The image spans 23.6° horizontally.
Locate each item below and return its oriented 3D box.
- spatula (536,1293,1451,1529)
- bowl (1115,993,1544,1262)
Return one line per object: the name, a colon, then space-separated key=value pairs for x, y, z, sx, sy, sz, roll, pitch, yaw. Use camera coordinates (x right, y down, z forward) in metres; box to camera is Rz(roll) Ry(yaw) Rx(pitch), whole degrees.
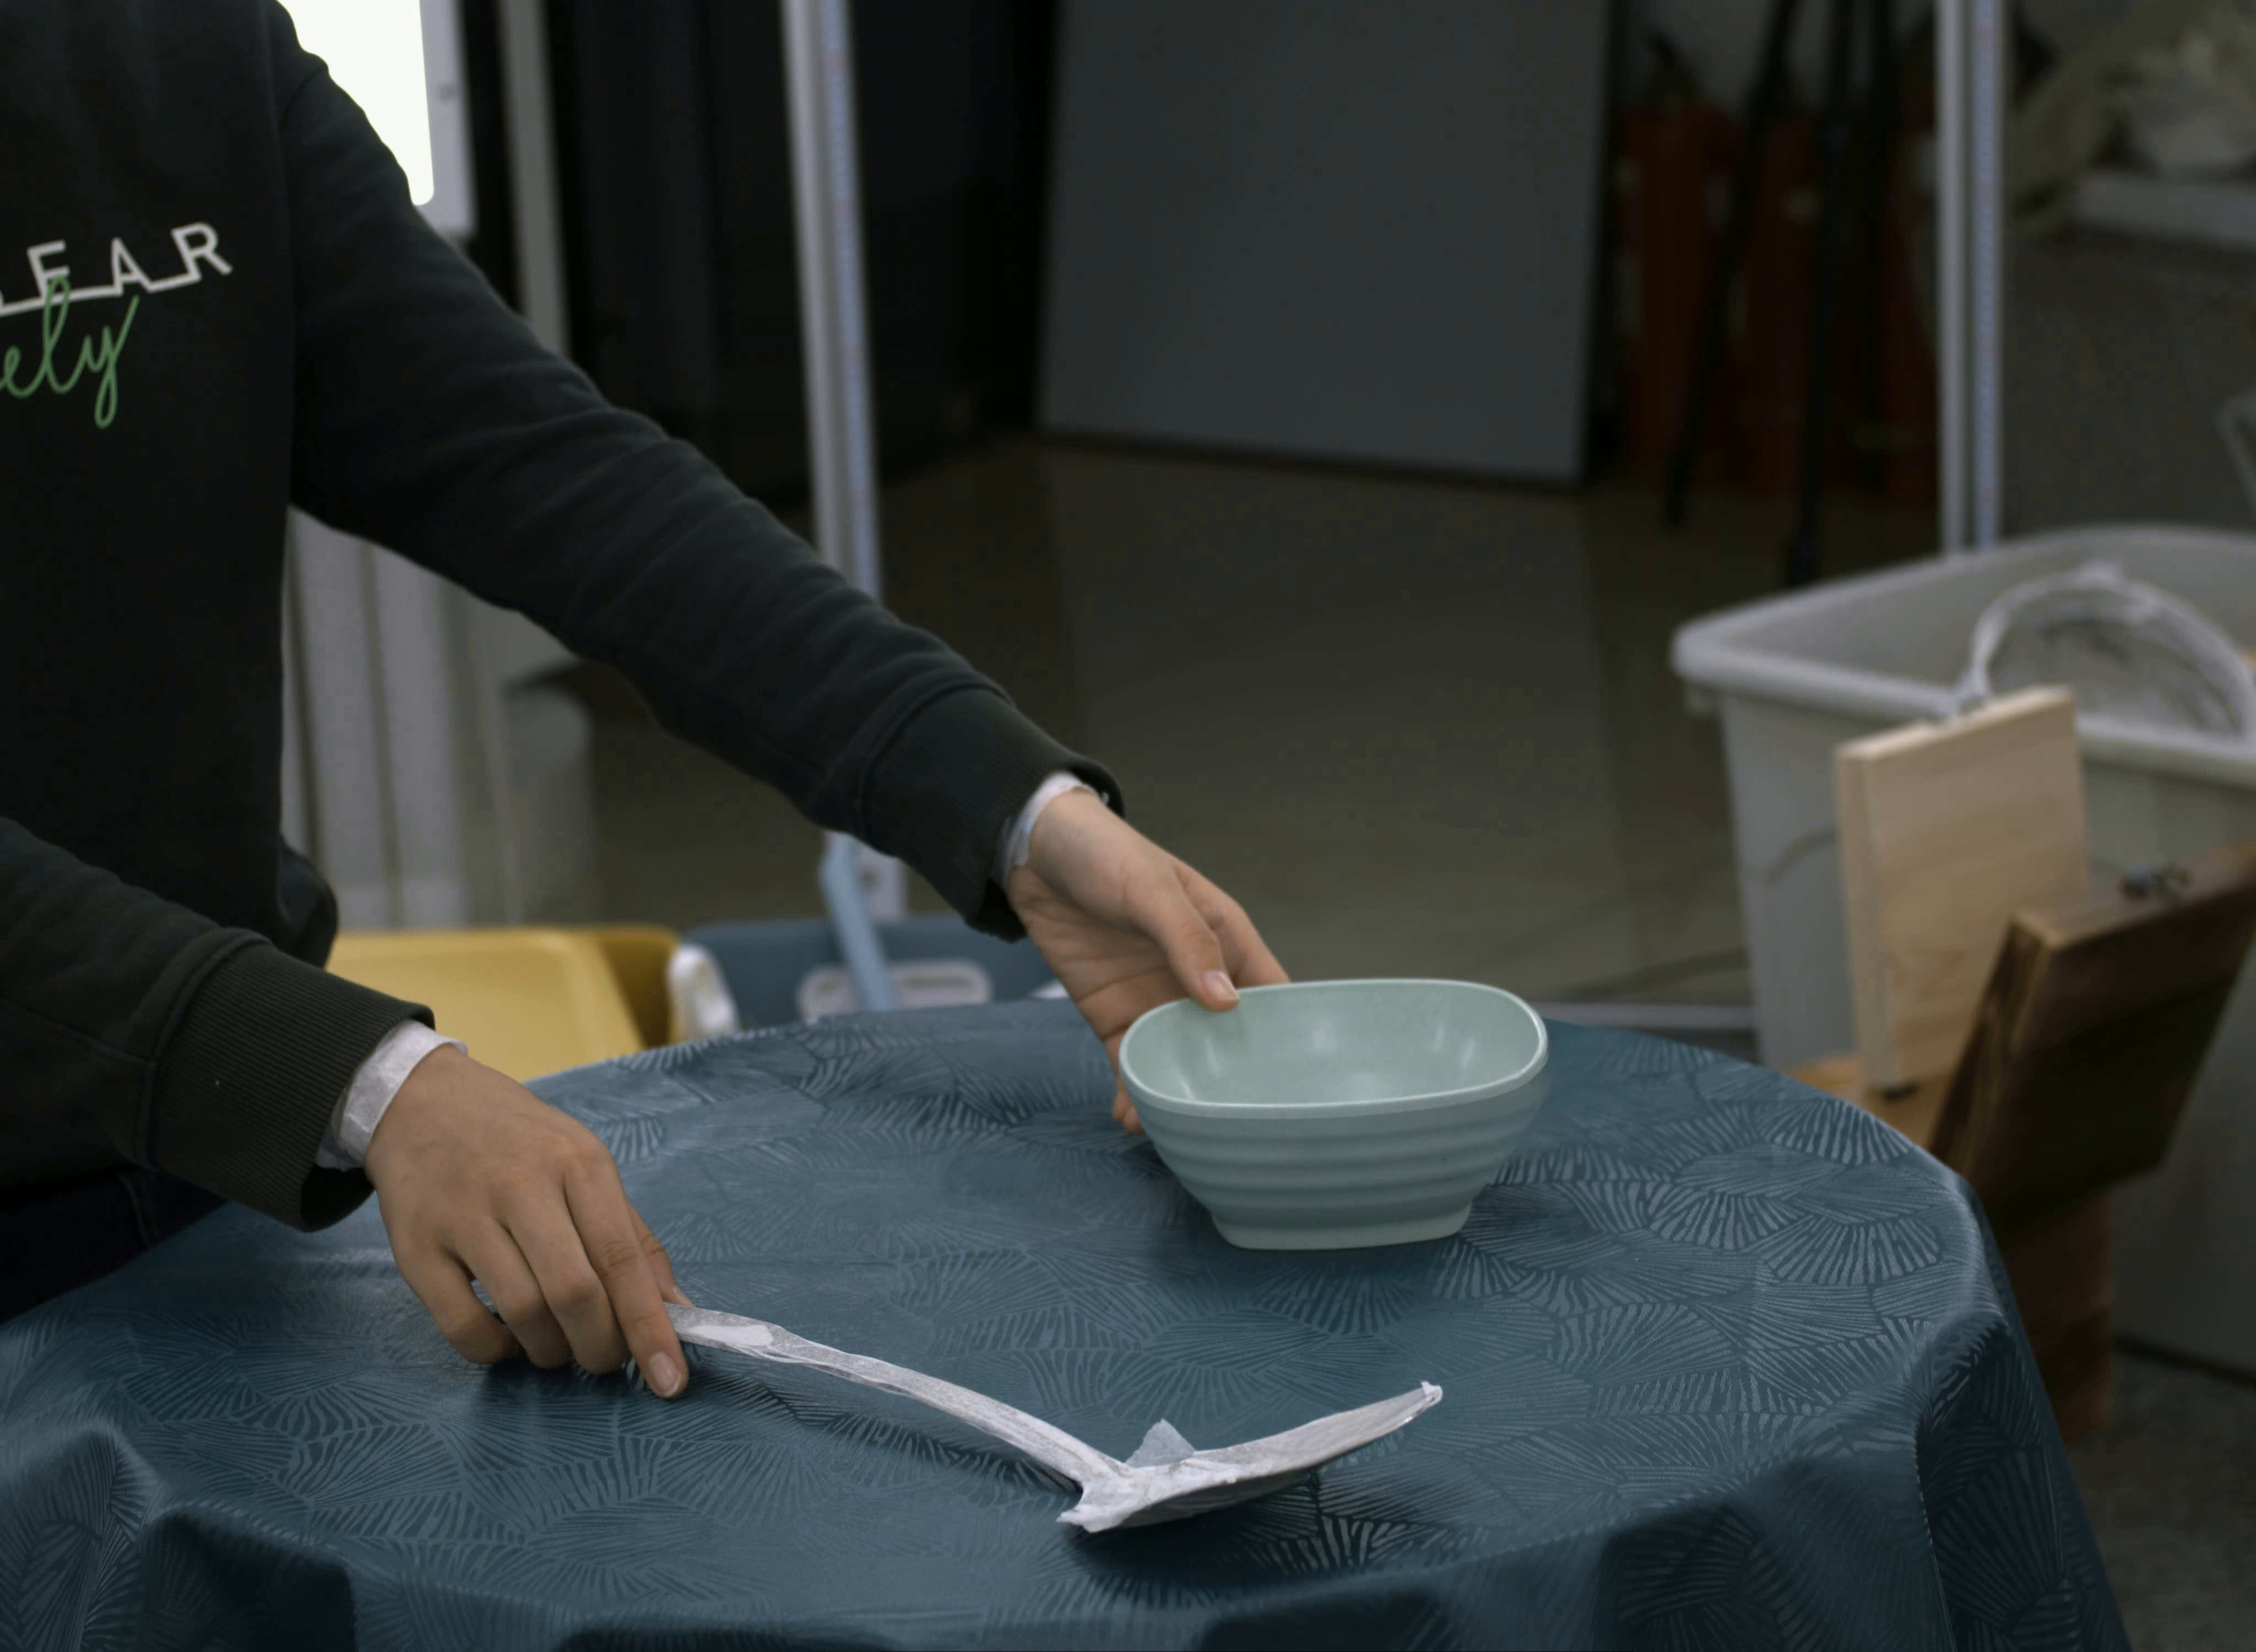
spatula: x=-0.061 y=0.157 z=1.562 sx=0.097 sy=0.045 sz=0.368 roll=-19 pitch=20 yaw=-42
bowl: x=0.065 y=0.100 z=1.733 sx=0.149 sy=0.059 sz=0.151 roll=-2 pitch=13 yaw=0
